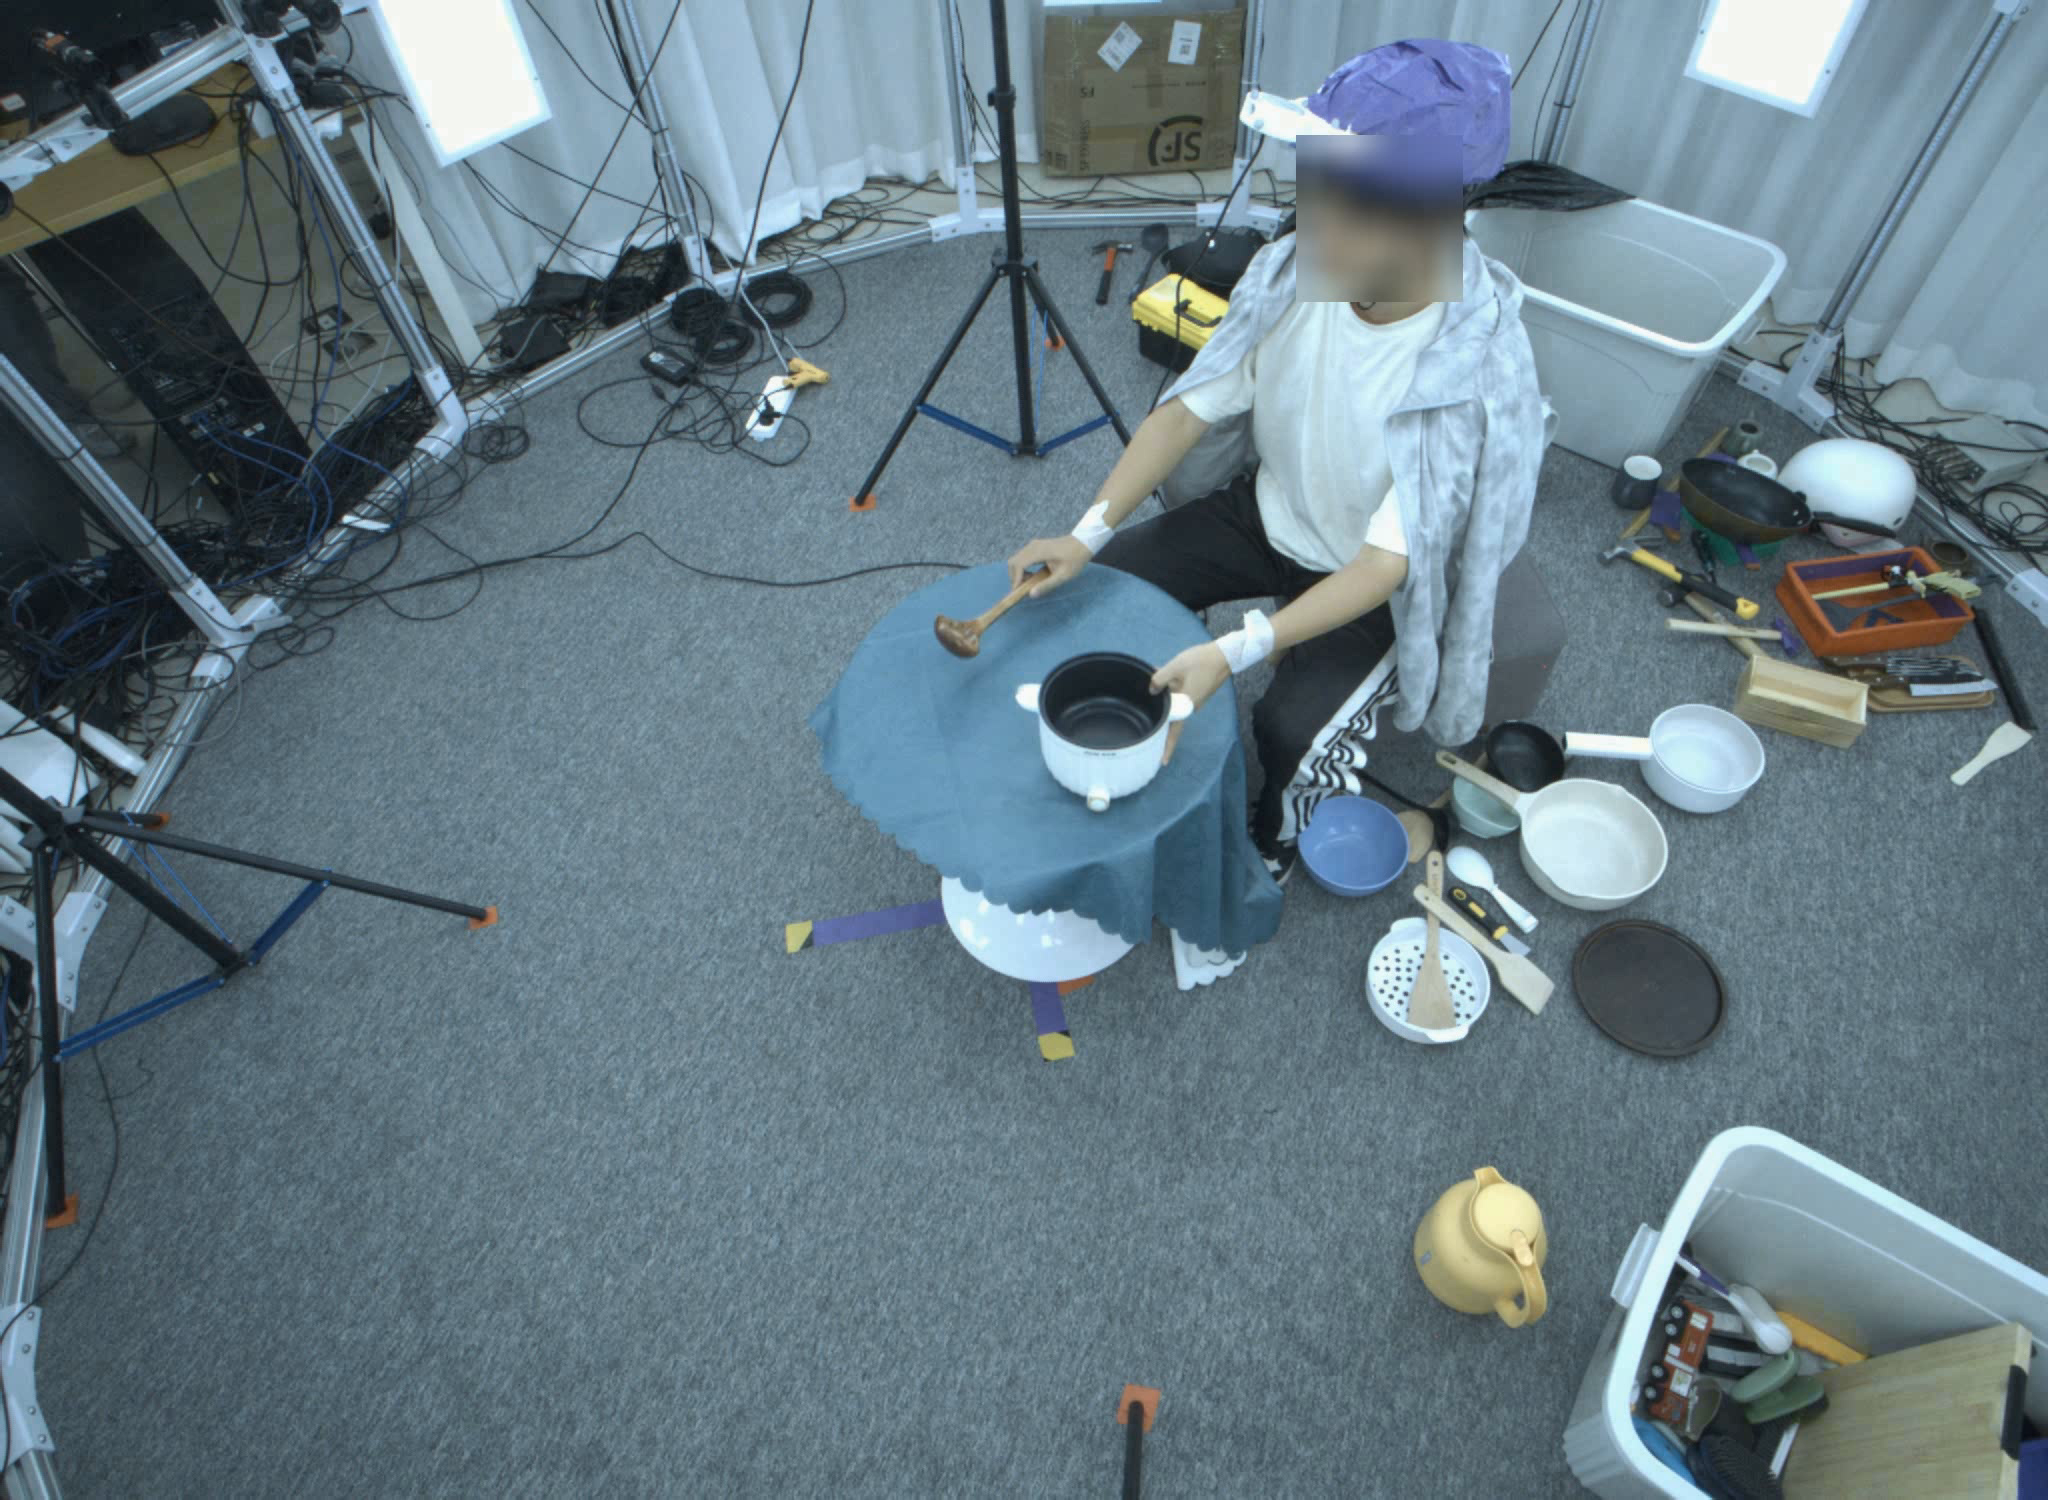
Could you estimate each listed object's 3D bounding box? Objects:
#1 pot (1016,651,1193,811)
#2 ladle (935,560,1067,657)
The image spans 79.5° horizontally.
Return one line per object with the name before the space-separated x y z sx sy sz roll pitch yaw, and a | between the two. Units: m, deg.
pot | 0.112 -0.024 1.712 0.239 0.144 0.189 3 47 5
ladle | -0.026 -0.228 1.836 0.276 0.076 0.082 -39 90 -28
